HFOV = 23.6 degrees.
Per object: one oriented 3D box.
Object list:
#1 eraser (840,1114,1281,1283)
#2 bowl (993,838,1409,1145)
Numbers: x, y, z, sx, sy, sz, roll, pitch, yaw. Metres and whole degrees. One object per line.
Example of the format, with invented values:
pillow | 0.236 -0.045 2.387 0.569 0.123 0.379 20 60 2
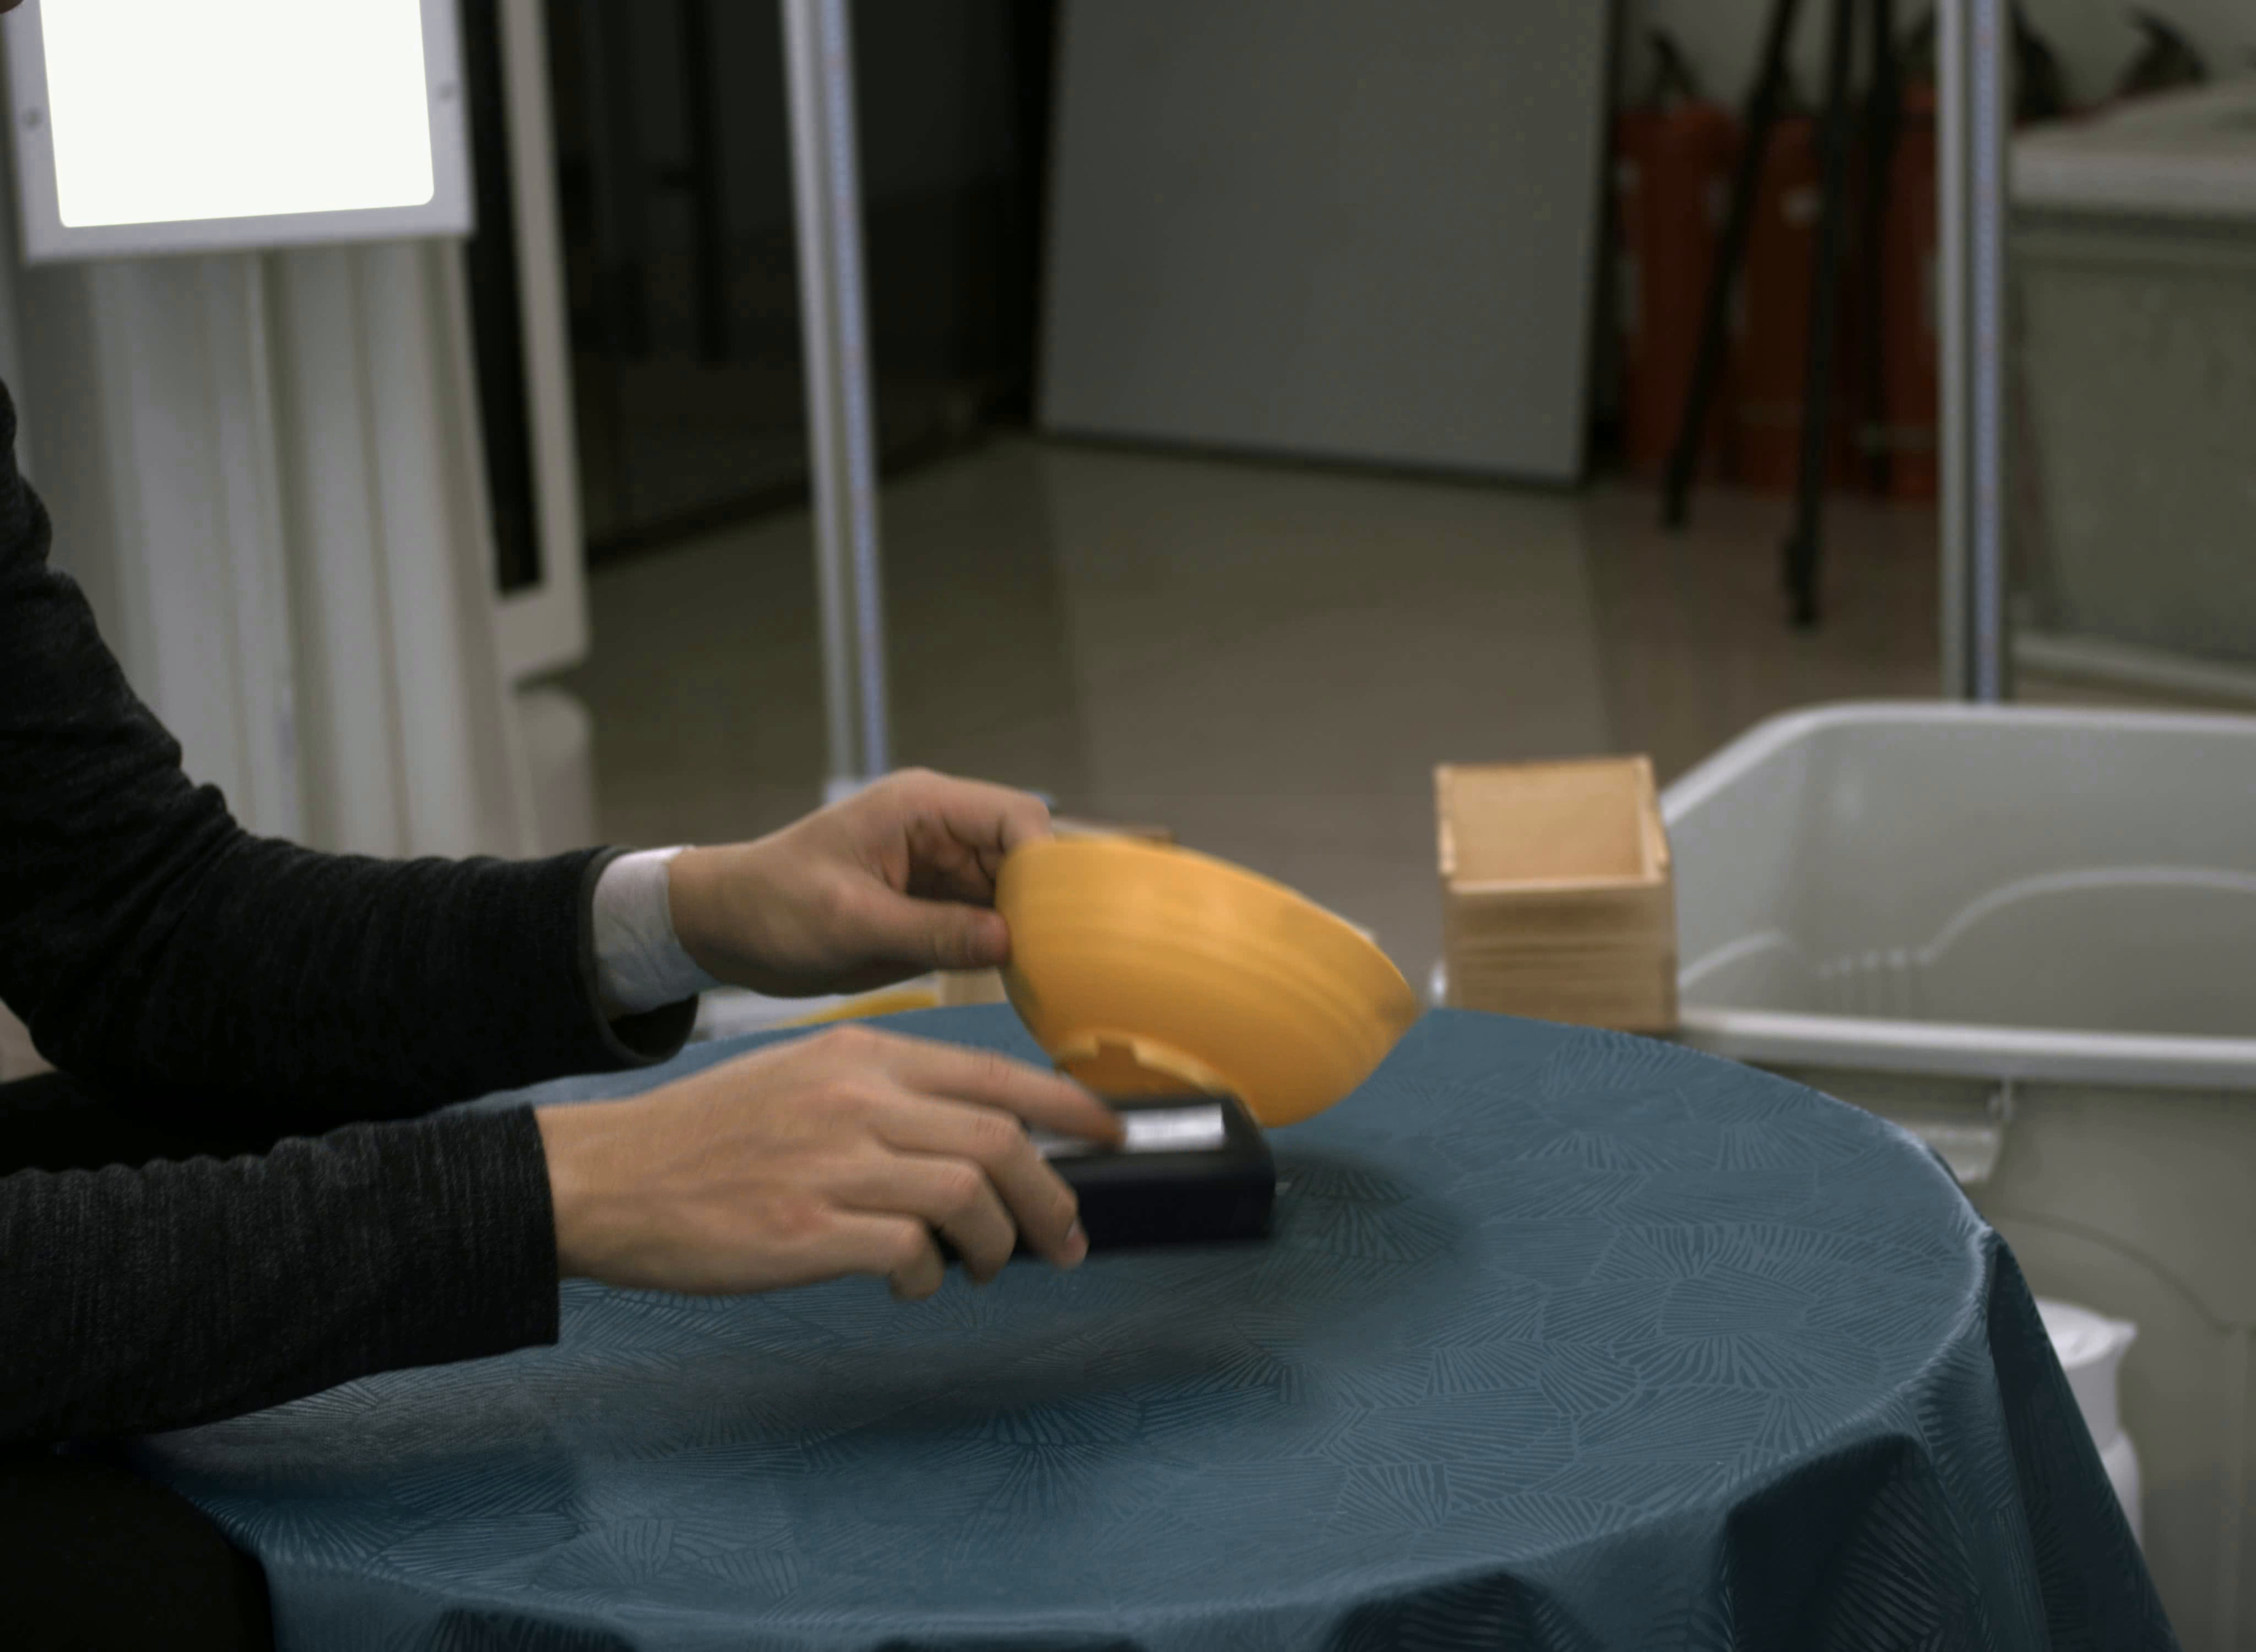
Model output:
eraser | -0.021 0.109 1.597 0.123 0.031 0.054 -2 23 -16
bowl | 0.015 0.065 1.747 0.144 0.060 0.145 18 -23 7
